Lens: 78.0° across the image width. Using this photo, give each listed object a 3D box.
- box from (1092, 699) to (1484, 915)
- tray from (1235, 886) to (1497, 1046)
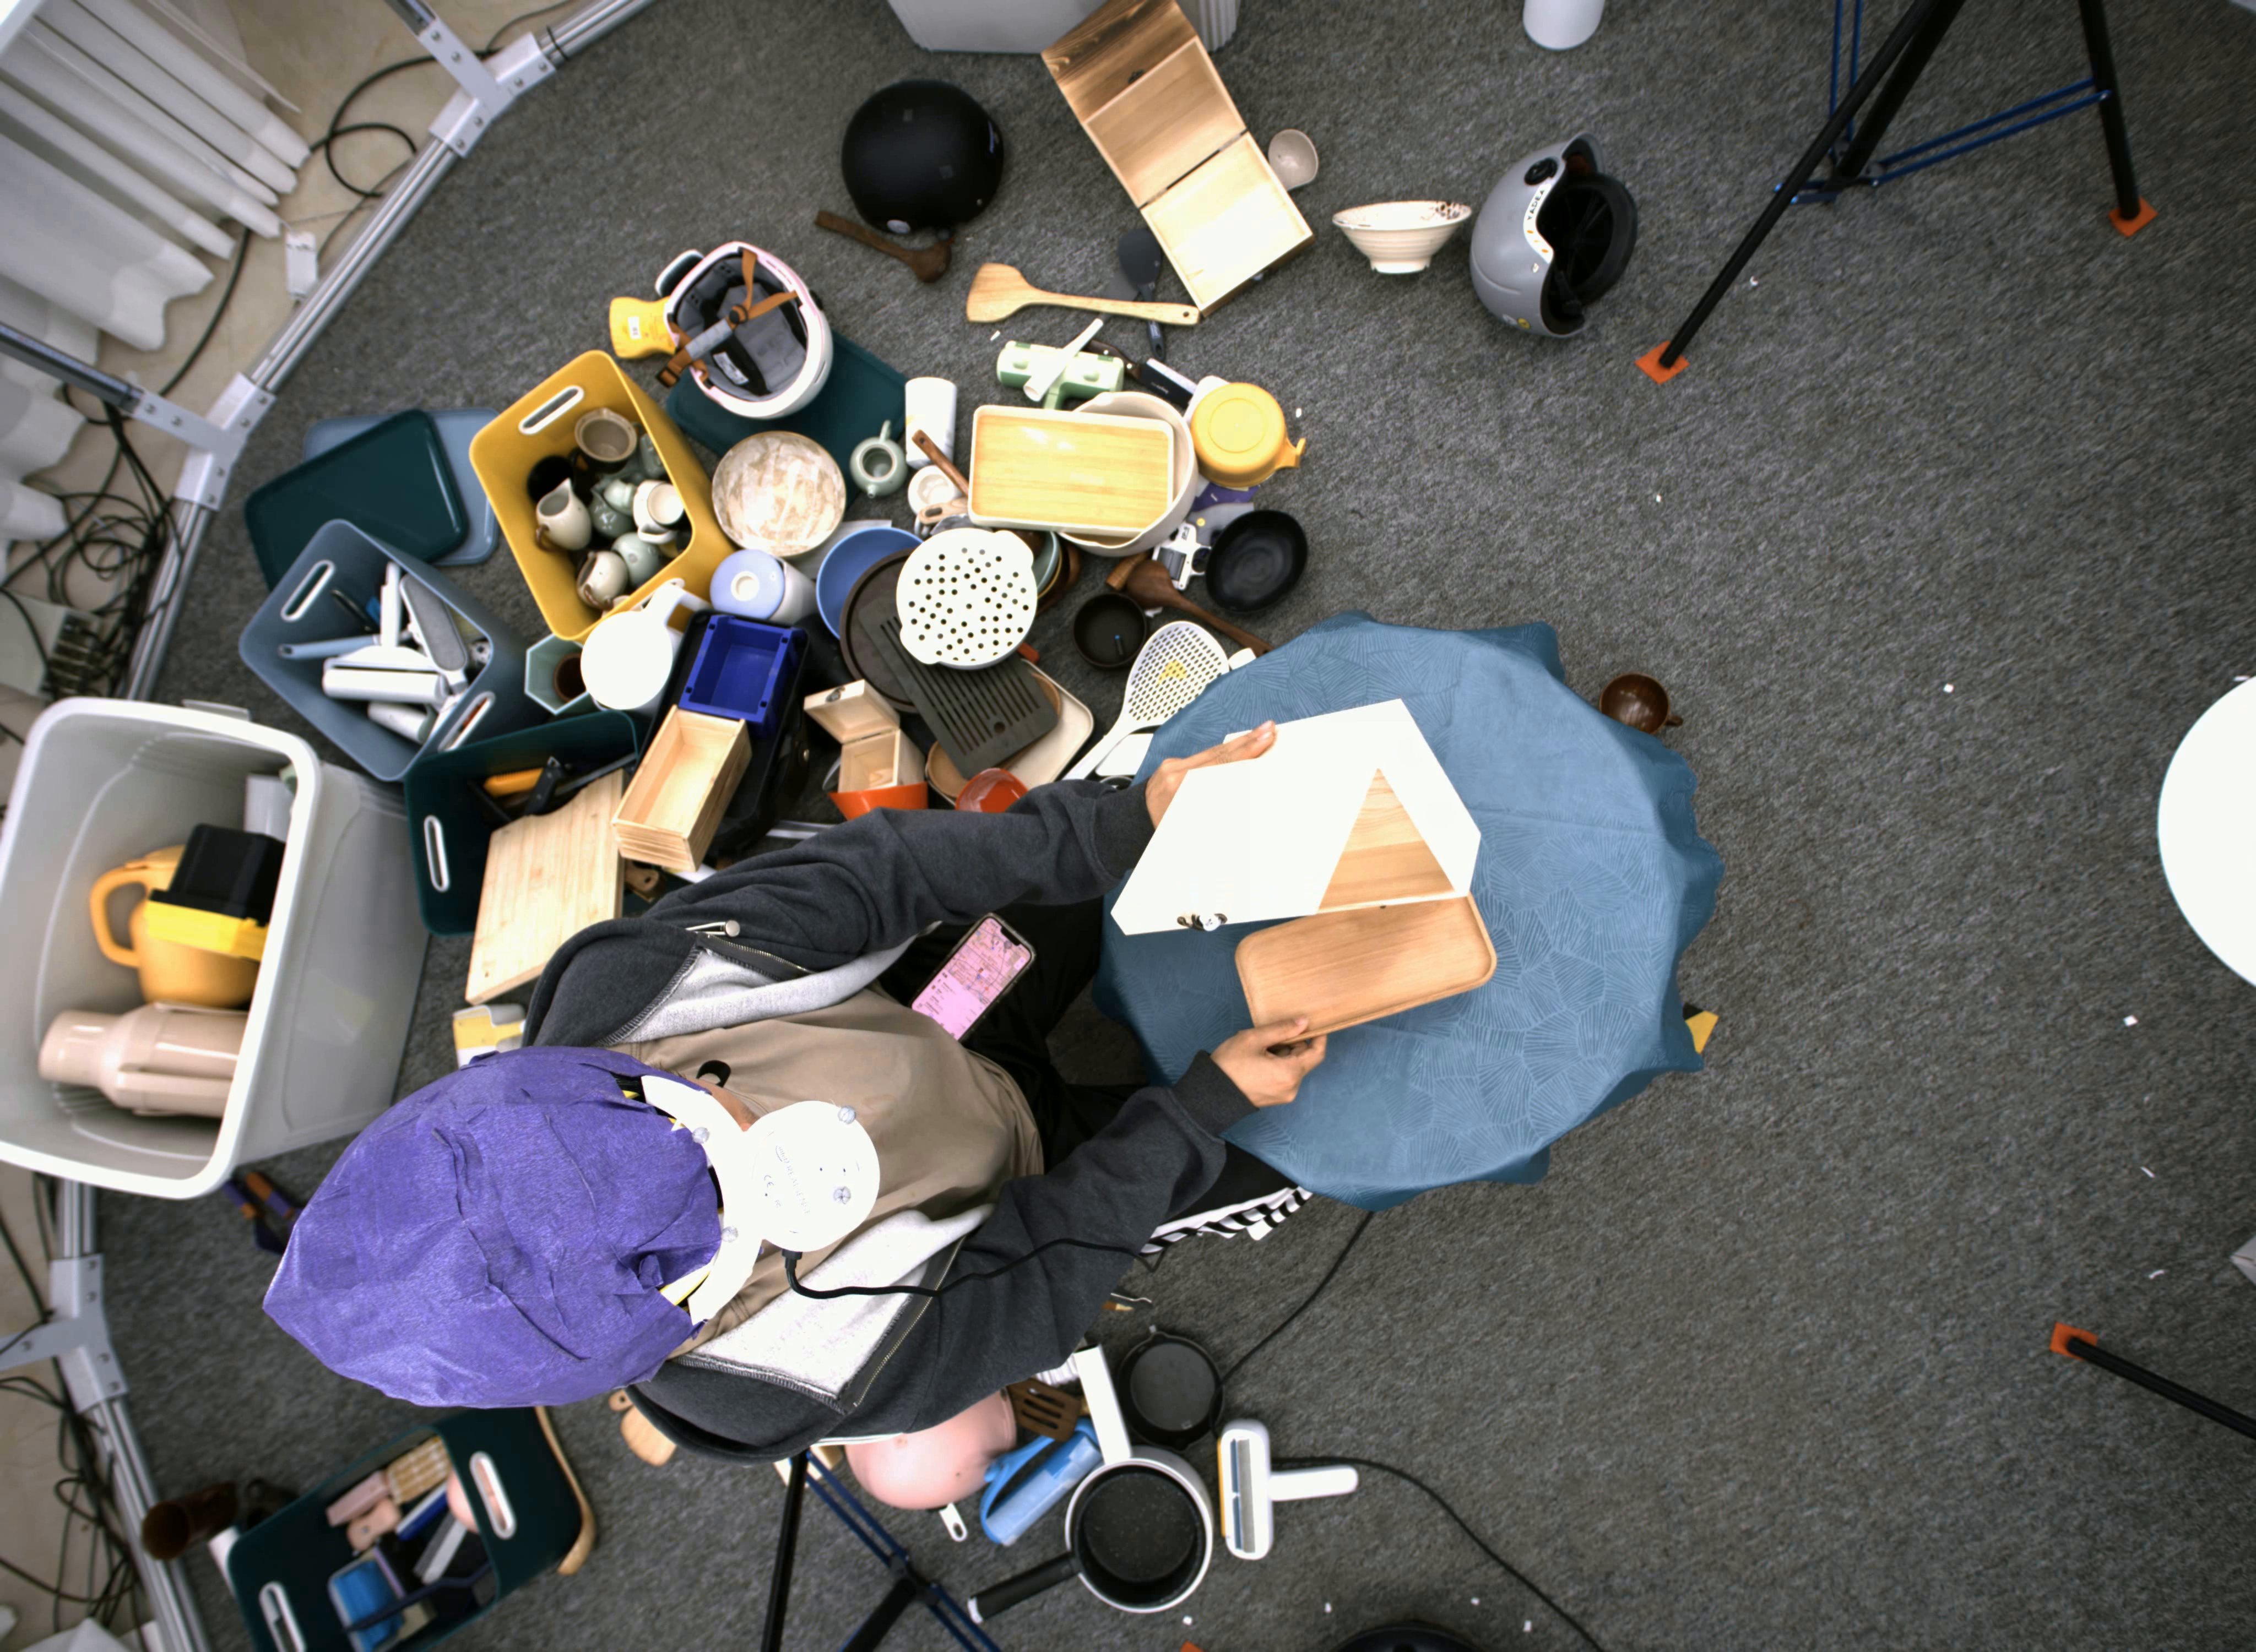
[{"bbox_3d":[0.151,0.027,1.195,0.184,0.269,0.247,-7,44,40],"label":"box"},{"bbox_3d":[0.238,0.136,1.397,0.251,0.023,0.127,-17,58,5],"label":"tray"}]
